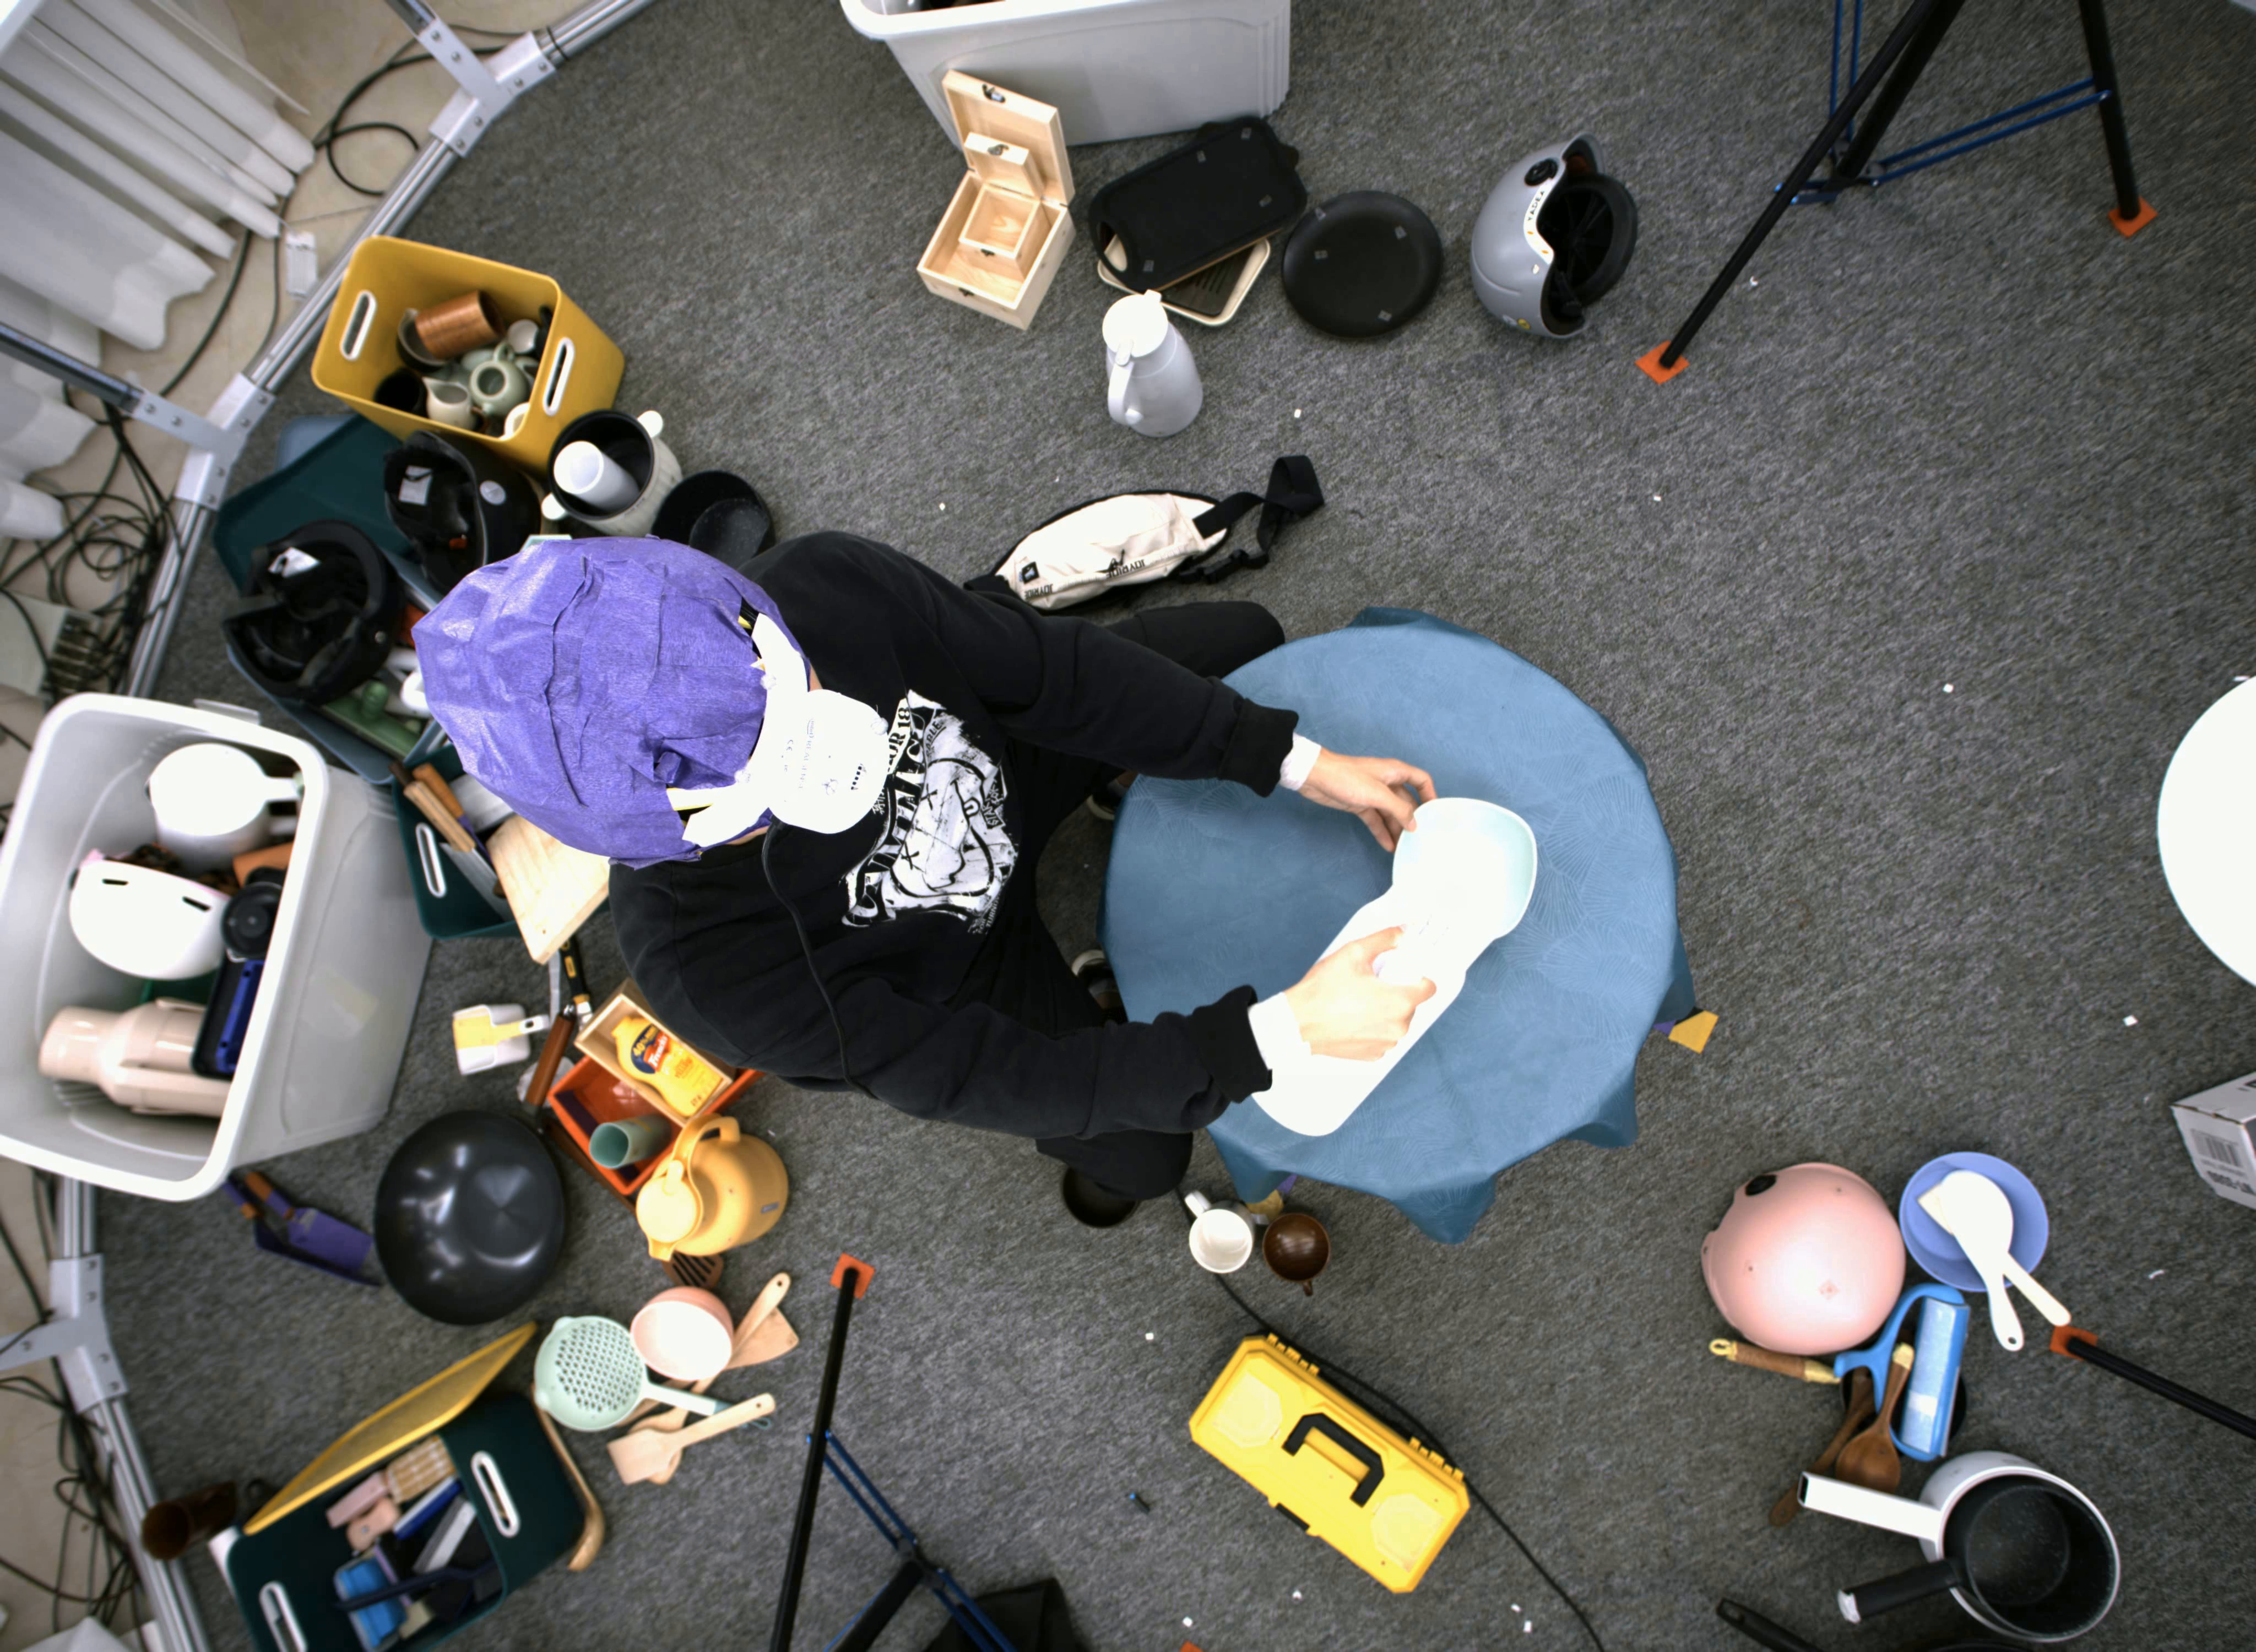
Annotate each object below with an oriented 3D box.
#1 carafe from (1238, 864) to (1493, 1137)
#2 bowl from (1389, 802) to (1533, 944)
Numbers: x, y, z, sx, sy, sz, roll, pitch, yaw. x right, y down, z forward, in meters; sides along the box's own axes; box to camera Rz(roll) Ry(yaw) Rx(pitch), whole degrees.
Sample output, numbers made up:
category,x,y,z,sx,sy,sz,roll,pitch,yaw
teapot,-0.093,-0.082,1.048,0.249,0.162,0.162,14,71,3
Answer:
category,x,y,z,sx,sy,sz,roll,pitch,yaw
carafe,0.214,0.169,1.278,0.123,0.169,0.275,39,119,5
bowl,0.335,0.046,1.393,0.152,0.058,0.151,0,89,9
